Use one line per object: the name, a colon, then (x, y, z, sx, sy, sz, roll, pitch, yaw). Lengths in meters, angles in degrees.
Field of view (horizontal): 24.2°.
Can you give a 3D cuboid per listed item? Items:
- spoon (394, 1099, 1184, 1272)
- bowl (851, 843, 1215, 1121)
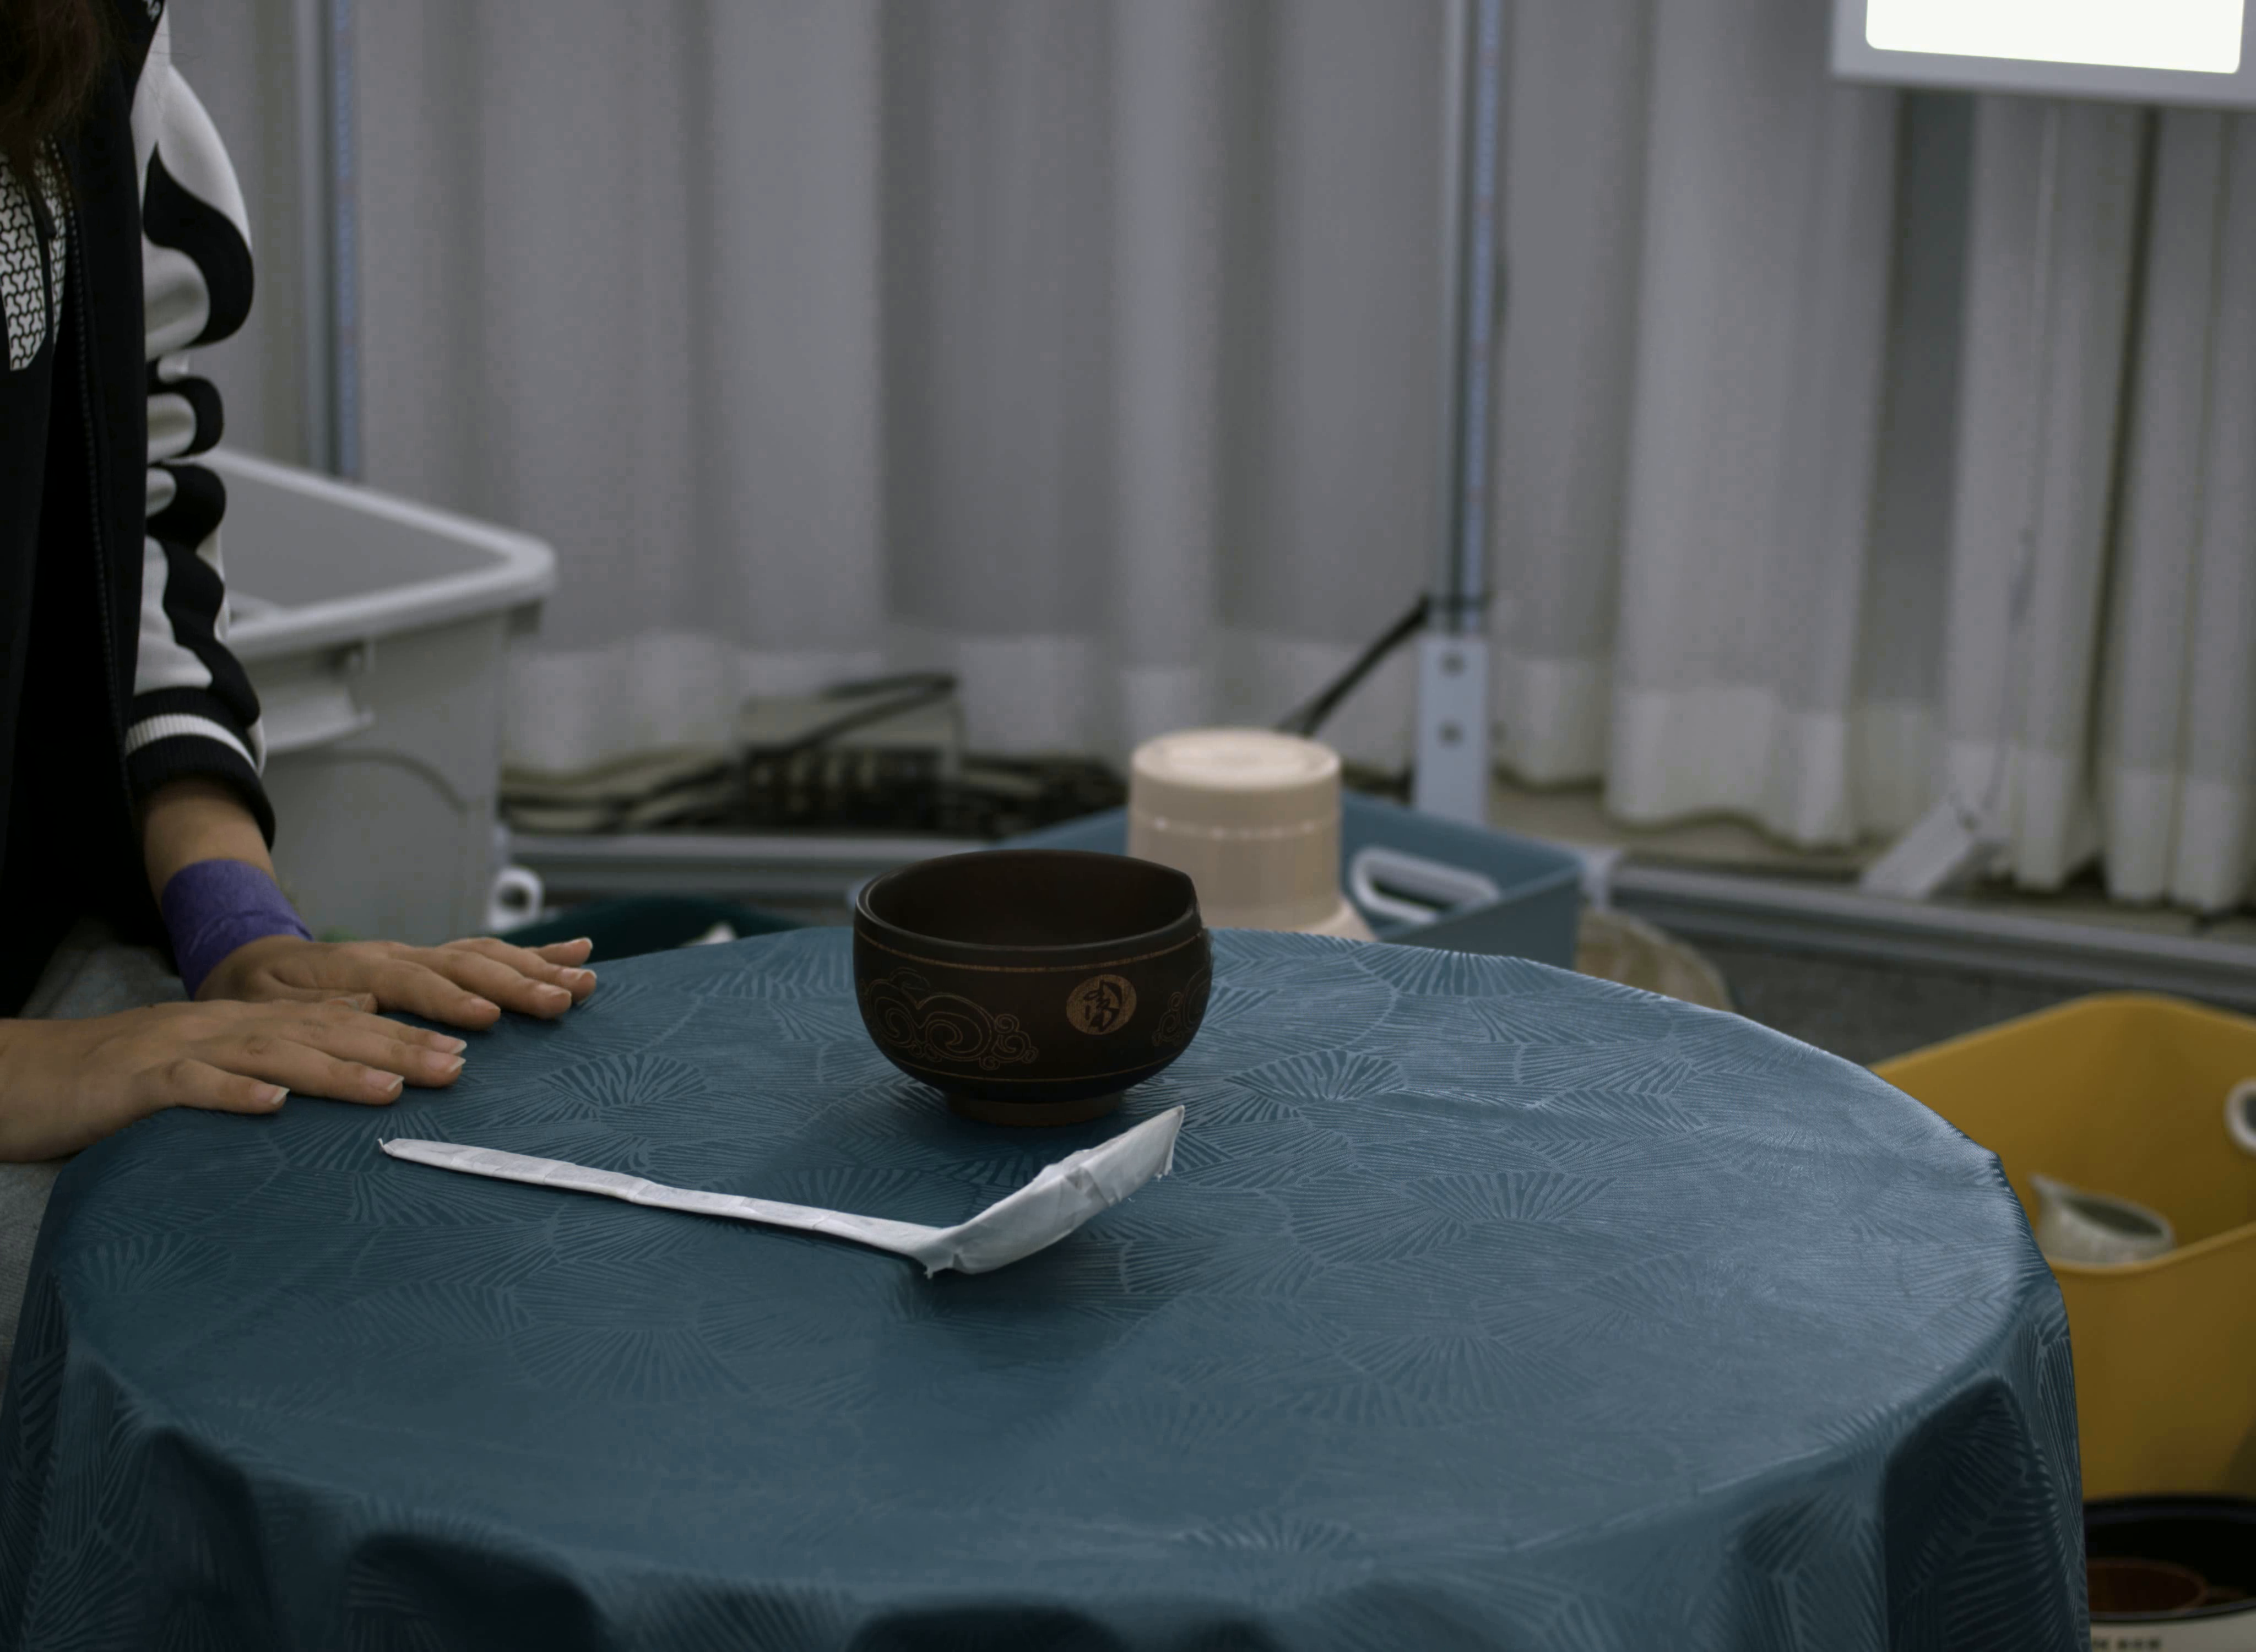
spoon: (-0.108, 0.090, 1.591, 0.274, 0.060, 0.101, 9, 15, 29)
bowl: (-0.031, 0.054, 1.695, 0.117, 0.070, 0.117, 1, 15, 0)
